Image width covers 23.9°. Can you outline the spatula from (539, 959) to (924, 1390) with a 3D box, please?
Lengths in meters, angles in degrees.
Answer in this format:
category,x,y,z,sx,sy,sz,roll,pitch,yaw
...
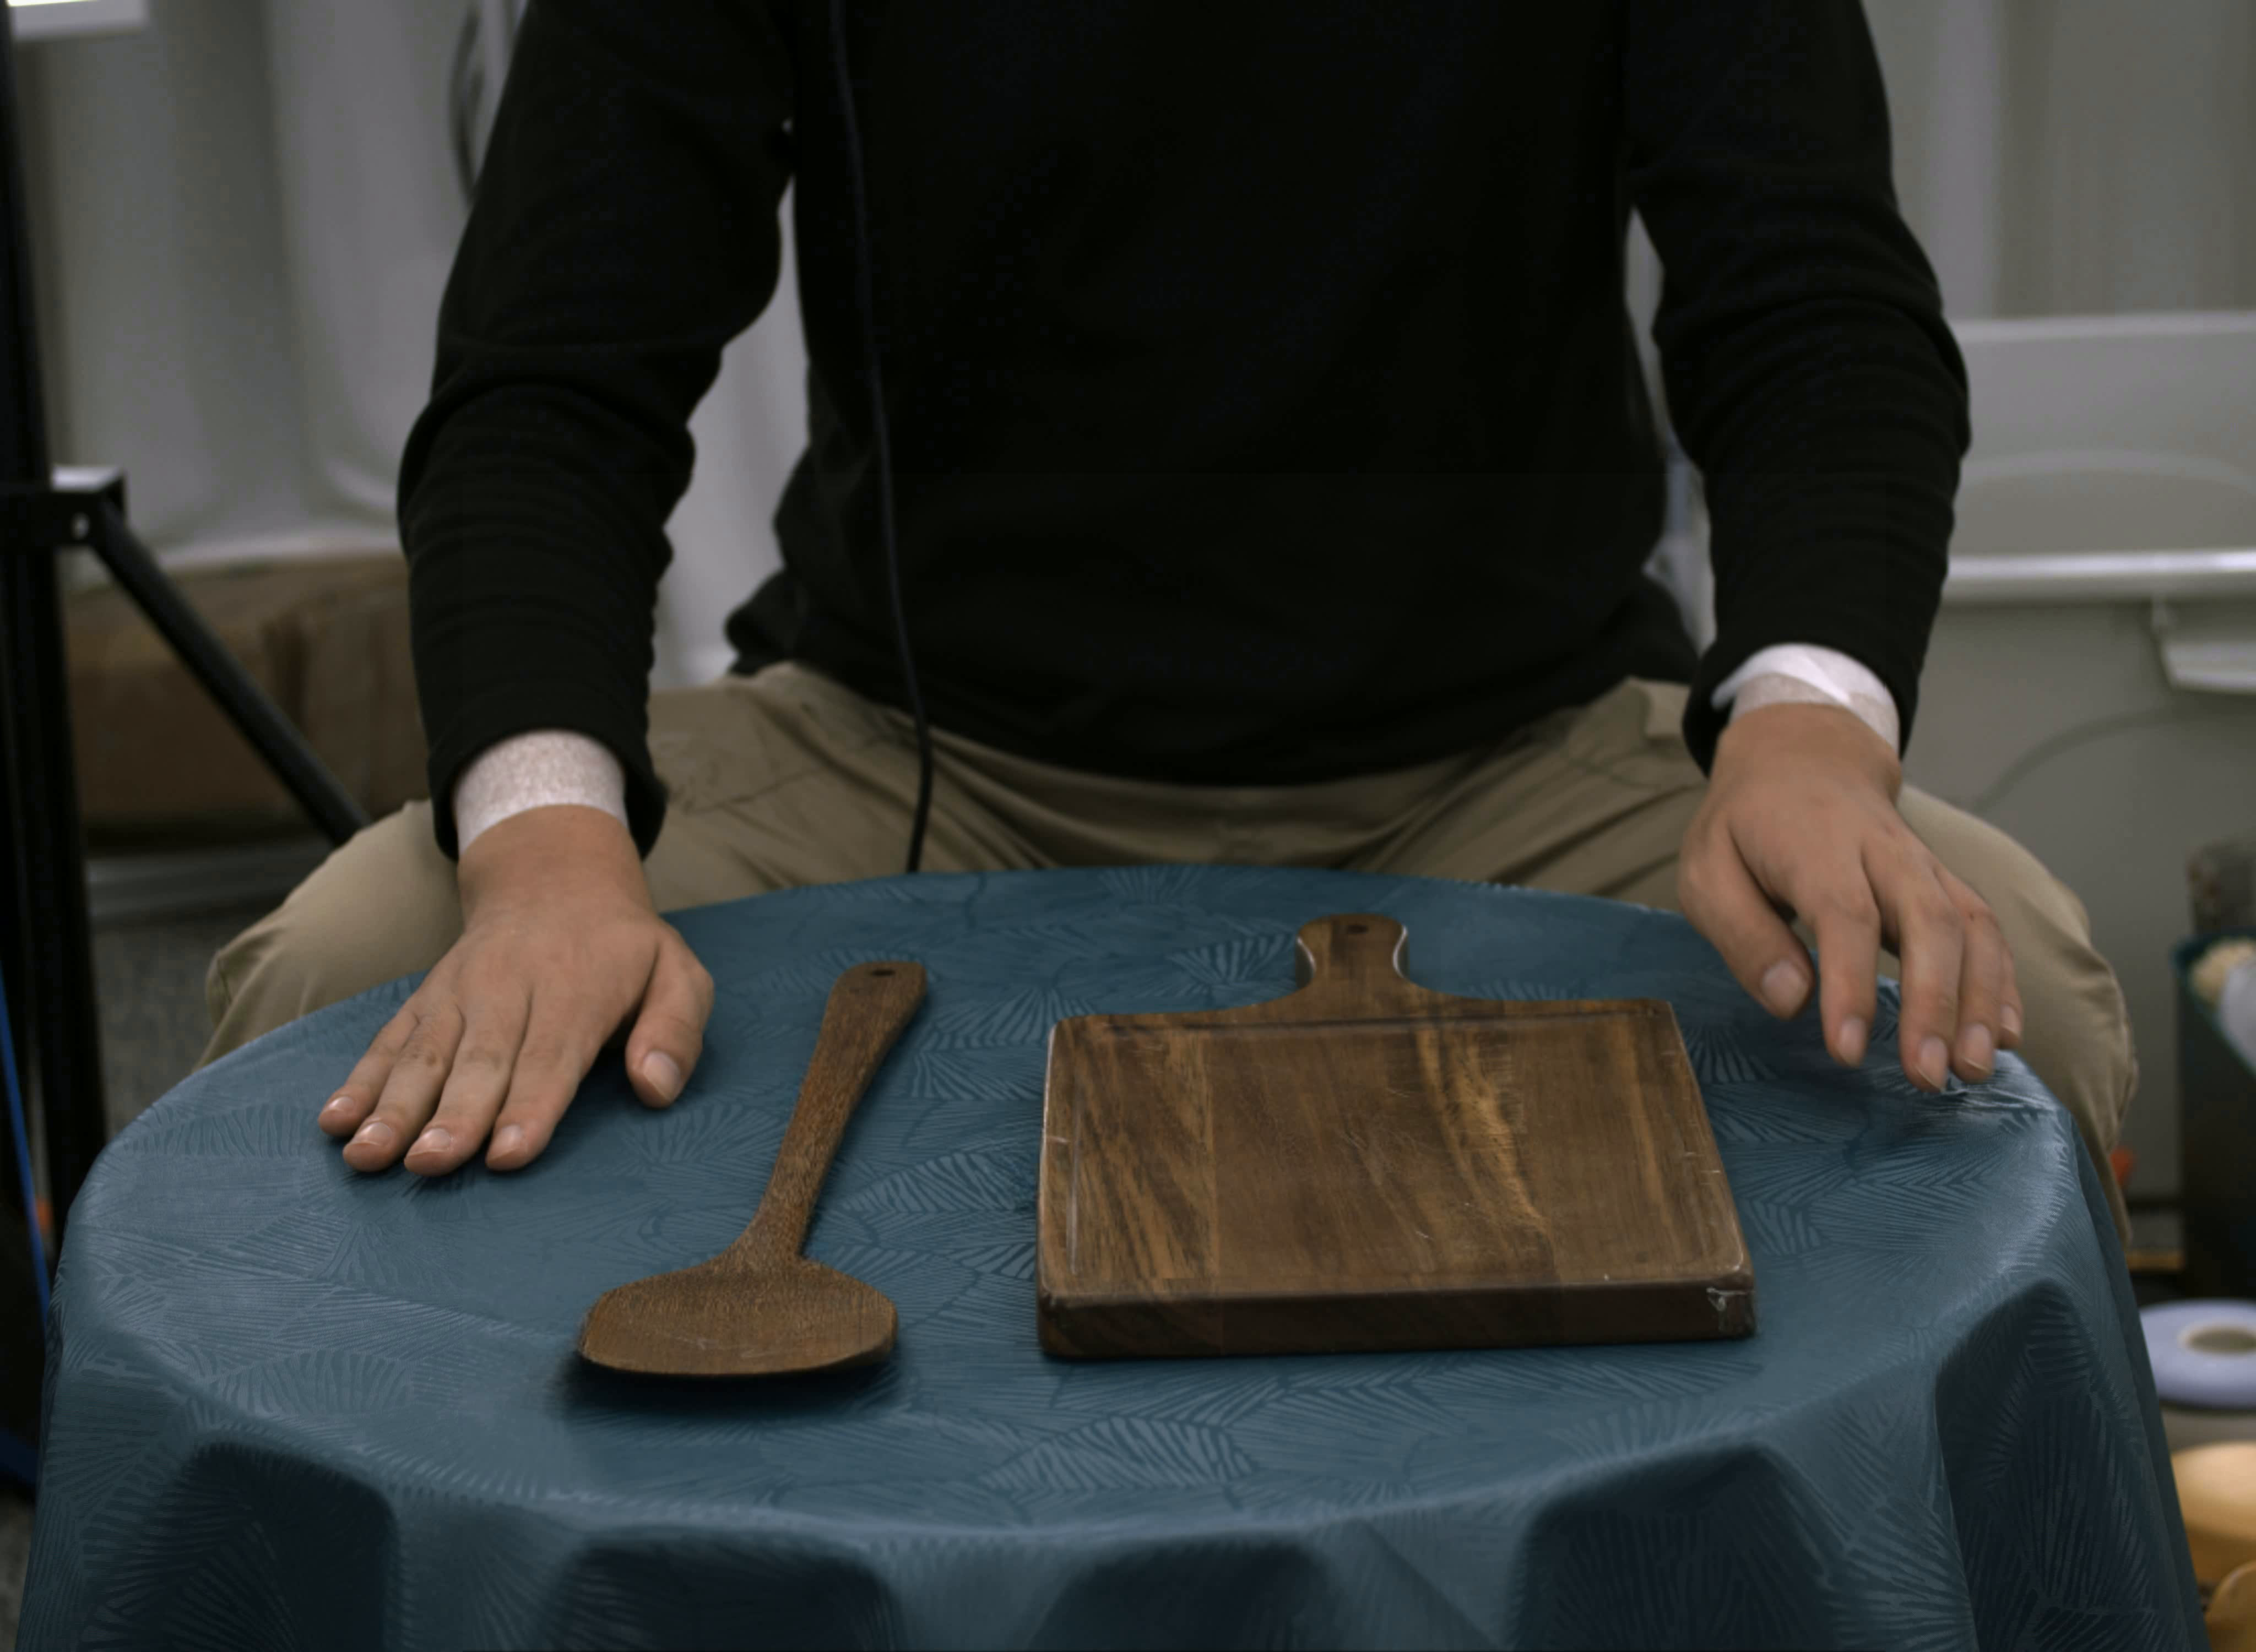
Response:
category,x,y,z,sx,sy,sz,roll,pitch,yaw
spatula,-0.096,0.097,1.586,0.096,0.016,0.386,-1,16,5

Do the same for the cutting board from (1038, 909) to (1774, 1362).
category,x,y,z,sx,sy,sz,roll,pitch,yaw
cutting board,0.073,0.085,1.587,0.200,0.023,0.353,-2,16,1
